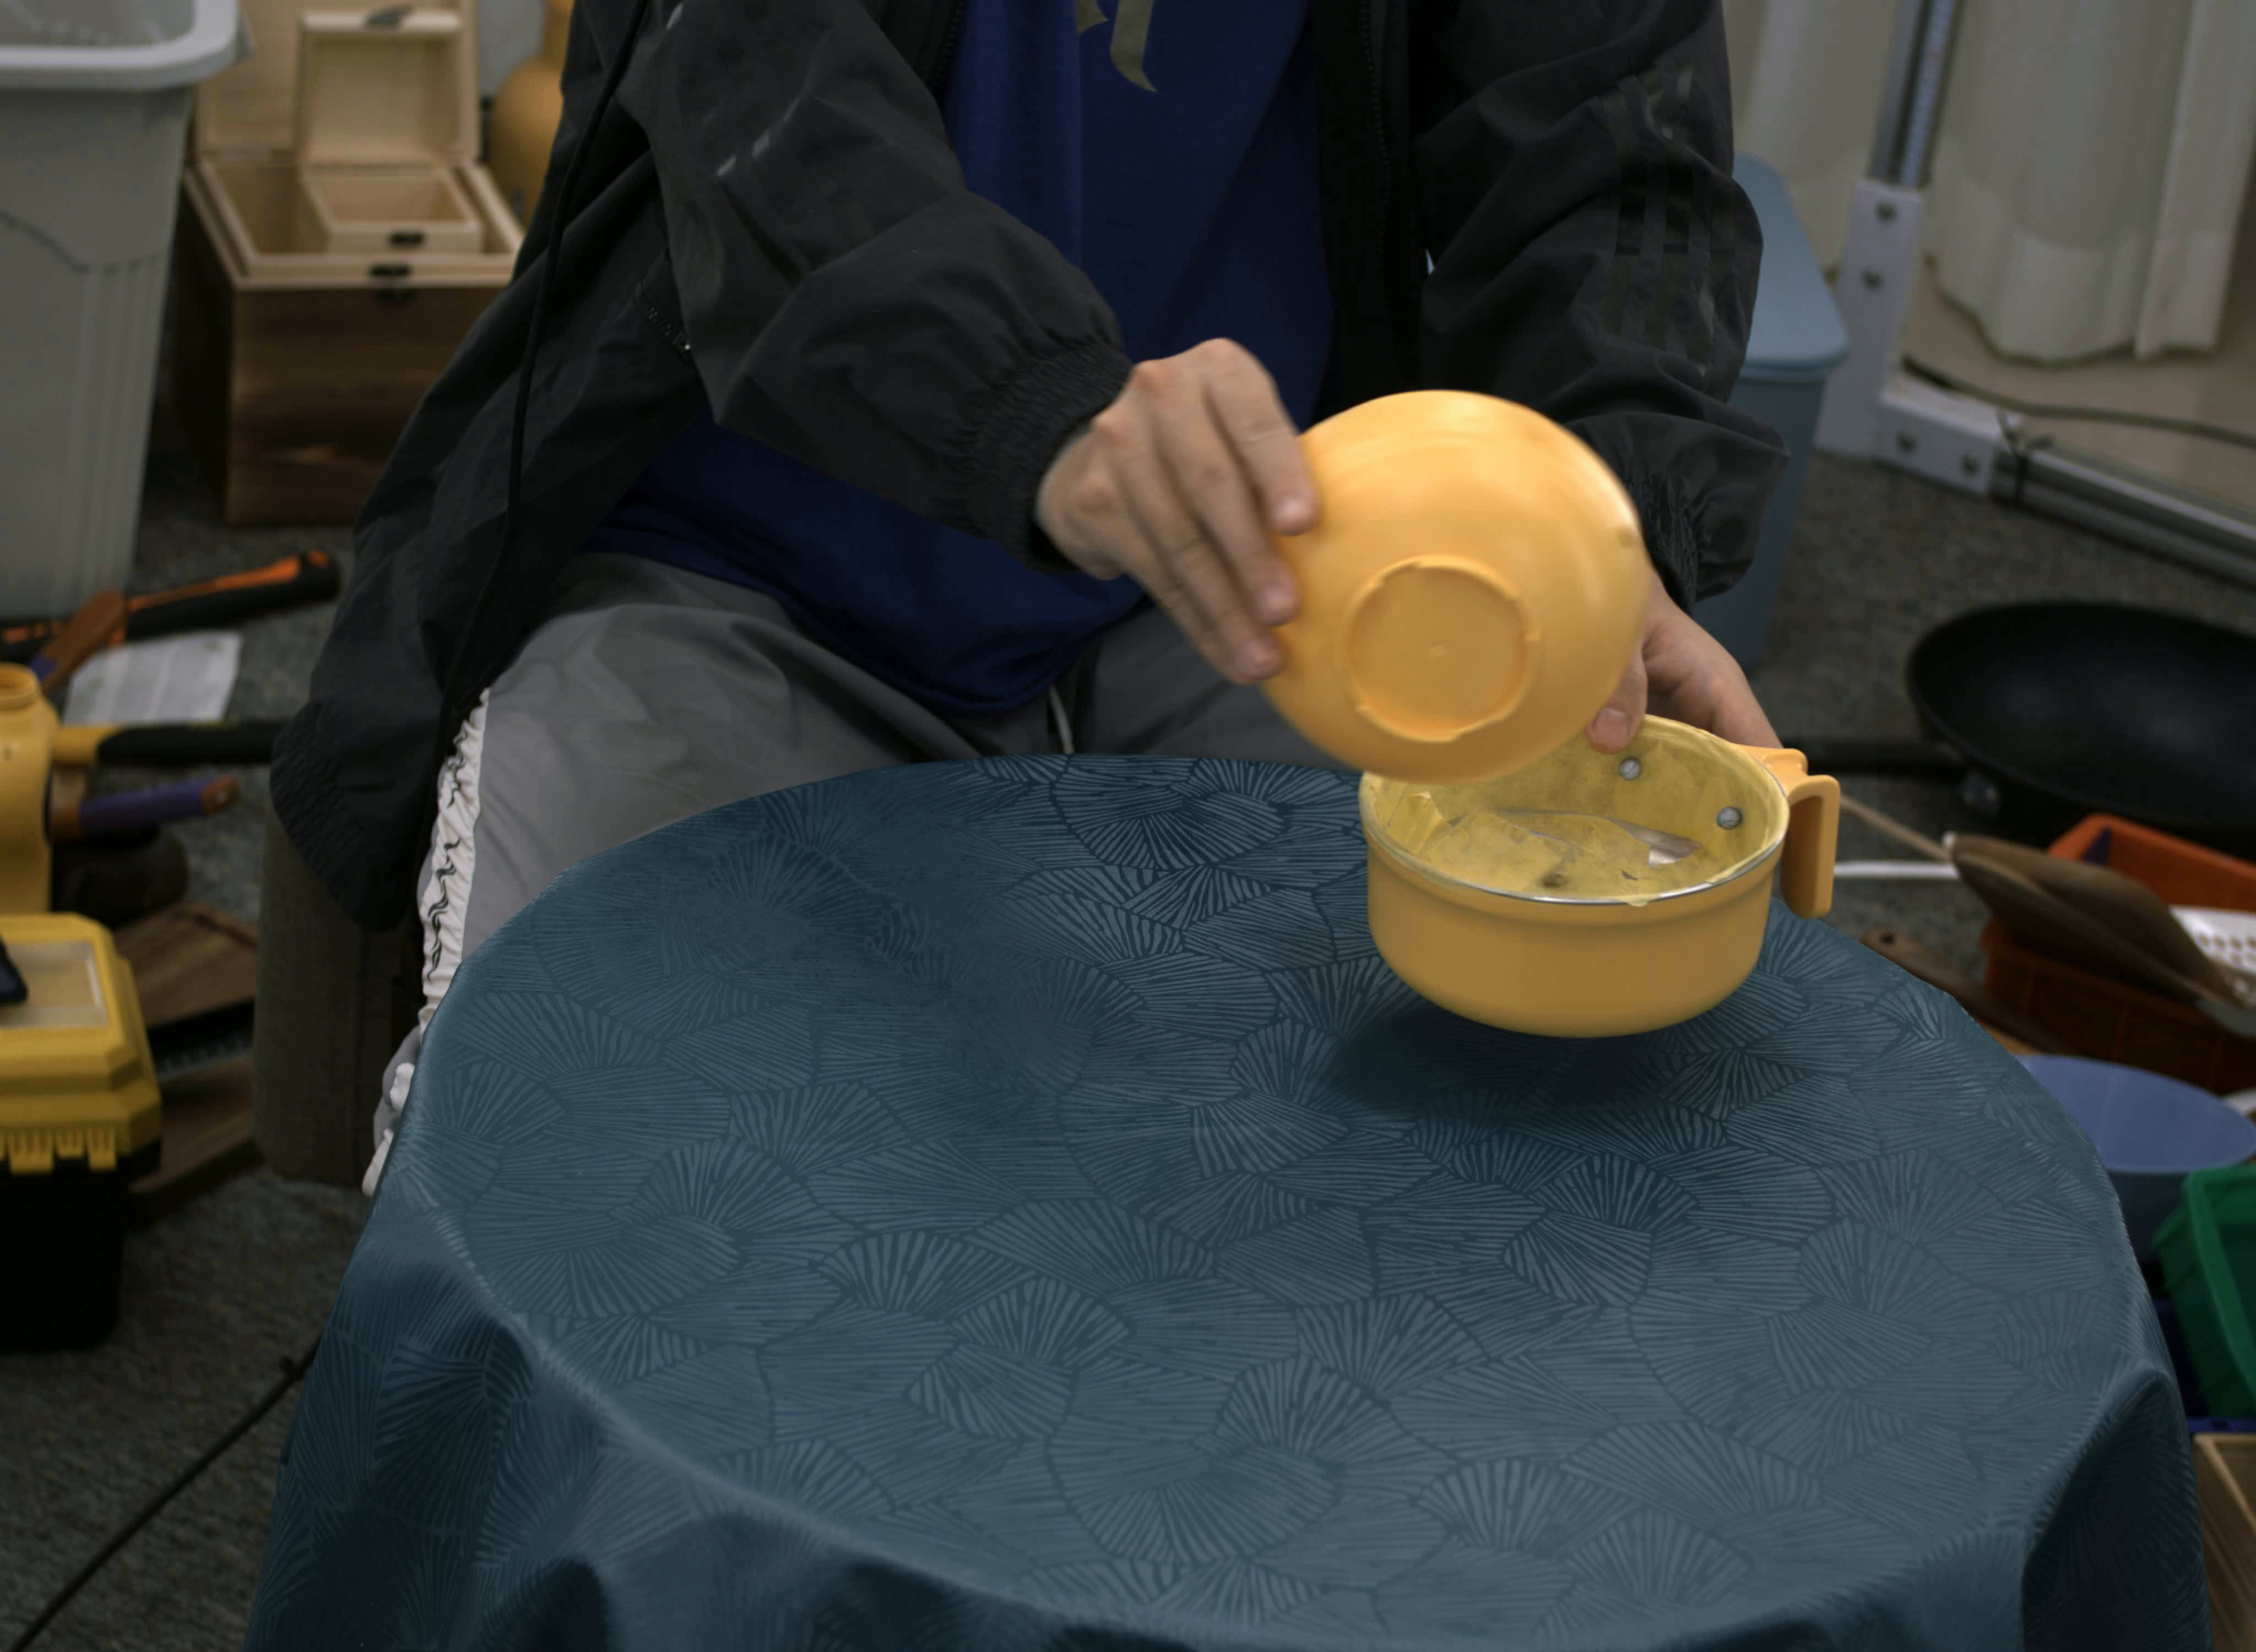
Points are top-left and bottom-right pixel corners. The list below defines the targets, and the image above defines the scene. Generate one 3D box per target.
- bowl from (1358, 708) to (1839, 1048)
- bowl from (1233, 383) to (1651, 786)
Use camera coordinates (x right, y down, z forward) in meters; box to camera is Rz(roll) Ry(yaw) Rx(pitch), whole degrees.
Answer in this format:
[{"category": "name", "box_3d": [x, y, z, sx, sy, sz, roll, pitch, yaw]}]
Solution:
[{"category": "bowl", "box_3d": [0.170, 0.019, 1.896, 0.178, 0.074, 0.154, -14, 29, -24]}, {"category": "bowl", "box_3d": [0.106, -0.072, 1.800, 0.145, 0.145, 0.060, 8, 22, 1]}]
